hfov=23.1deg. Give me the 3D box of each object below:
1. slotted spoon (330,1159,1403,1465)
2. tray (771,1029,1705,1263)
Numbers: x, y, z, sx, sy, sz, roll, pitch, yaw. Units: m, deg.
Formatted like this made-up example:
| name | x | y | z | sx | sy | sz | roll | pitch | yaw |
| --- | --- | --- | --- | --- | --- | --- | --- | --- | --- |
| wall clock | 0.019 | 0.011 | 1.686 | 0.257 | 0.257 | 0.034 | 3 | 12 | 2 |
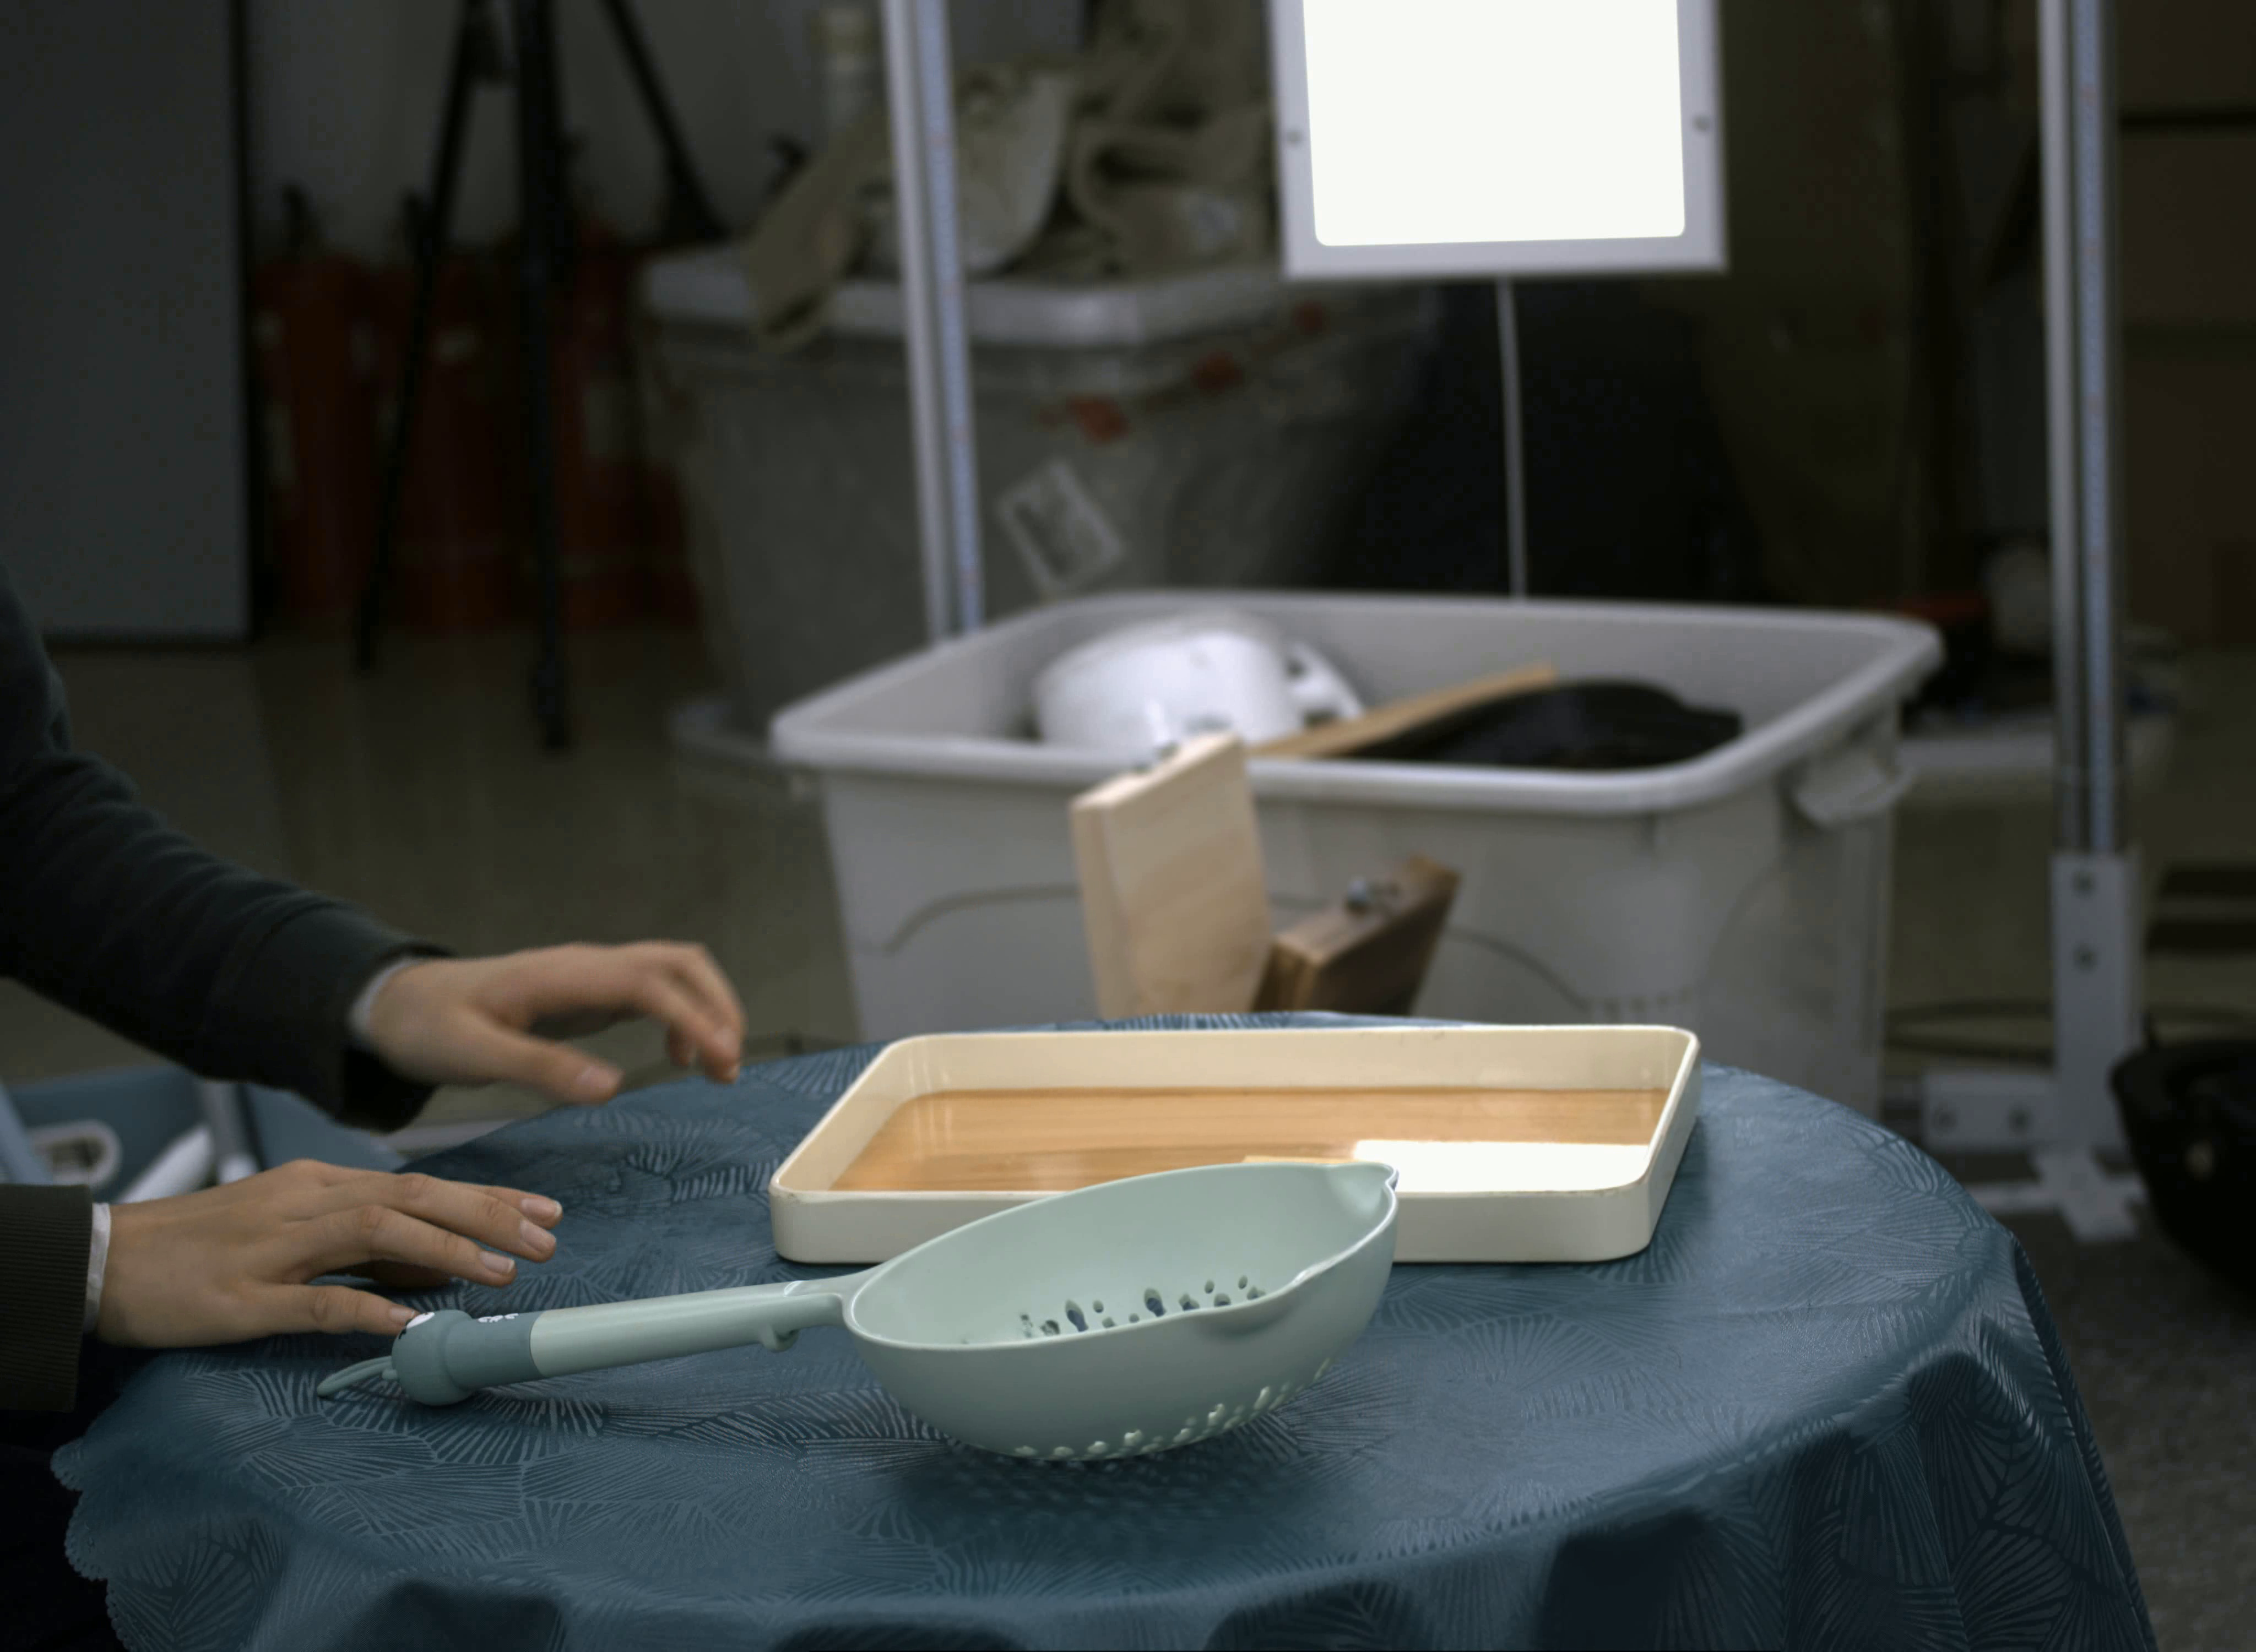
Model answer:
| name | x | y | z | sx | sy | sz | roll | pitch | yaw |
| --- | --- | --- | --- | --- | --- | --- | --- | --- | --- |
| slotted spoon | -0.088 | 0.151 | 1.692 | 0.364 | 0.075 | 0.166 | 1 | 14 | 22 |
| tray | 0.042 | 0.109 | 1.898 | 0.303 | 0.027 | 0.189 | -1 | 14 | 15 |
